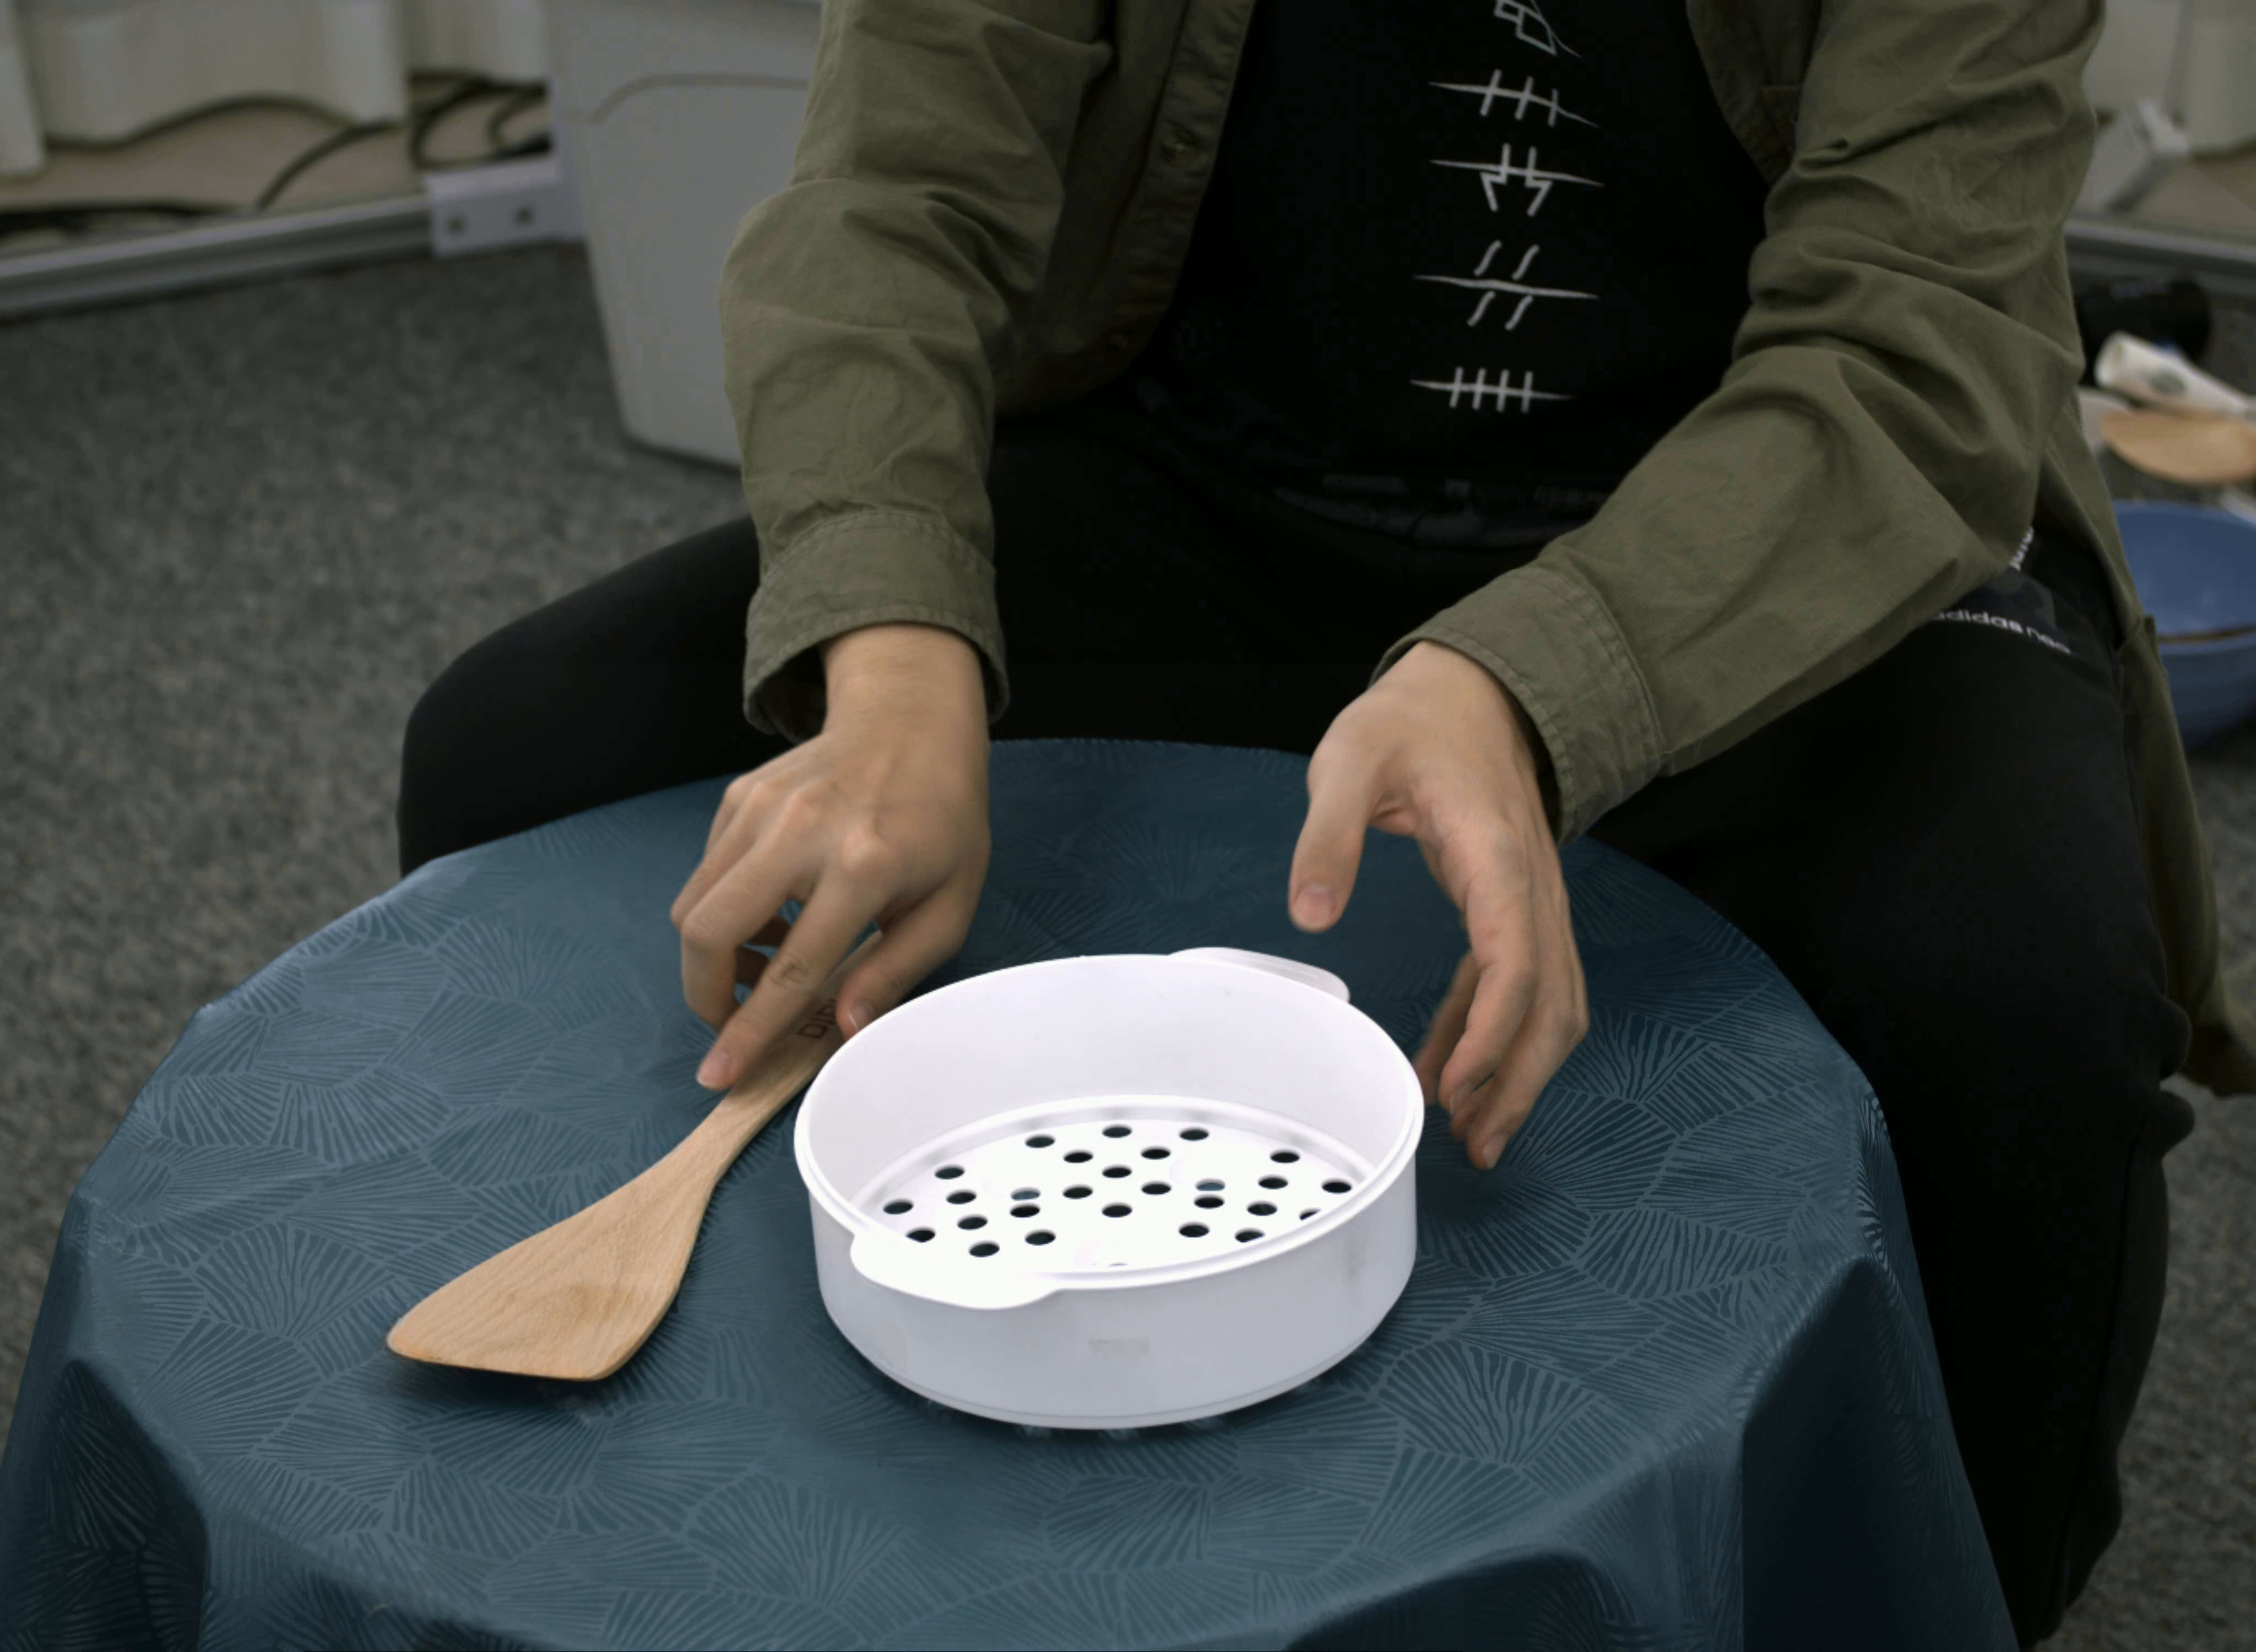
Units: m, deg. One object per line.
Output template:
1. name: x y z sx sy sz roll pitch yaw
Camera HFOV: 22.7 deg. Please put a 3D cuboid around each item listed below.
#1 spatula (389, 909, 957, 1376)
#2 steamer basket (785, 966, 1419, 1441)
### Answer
1. spatula: -0.135 0.102 1.889 0.079 0.016 0.333 9 30 22
2. steamer basket: -0.008 0.121 1.789 0.201 0.068 0.234 13 30 27
